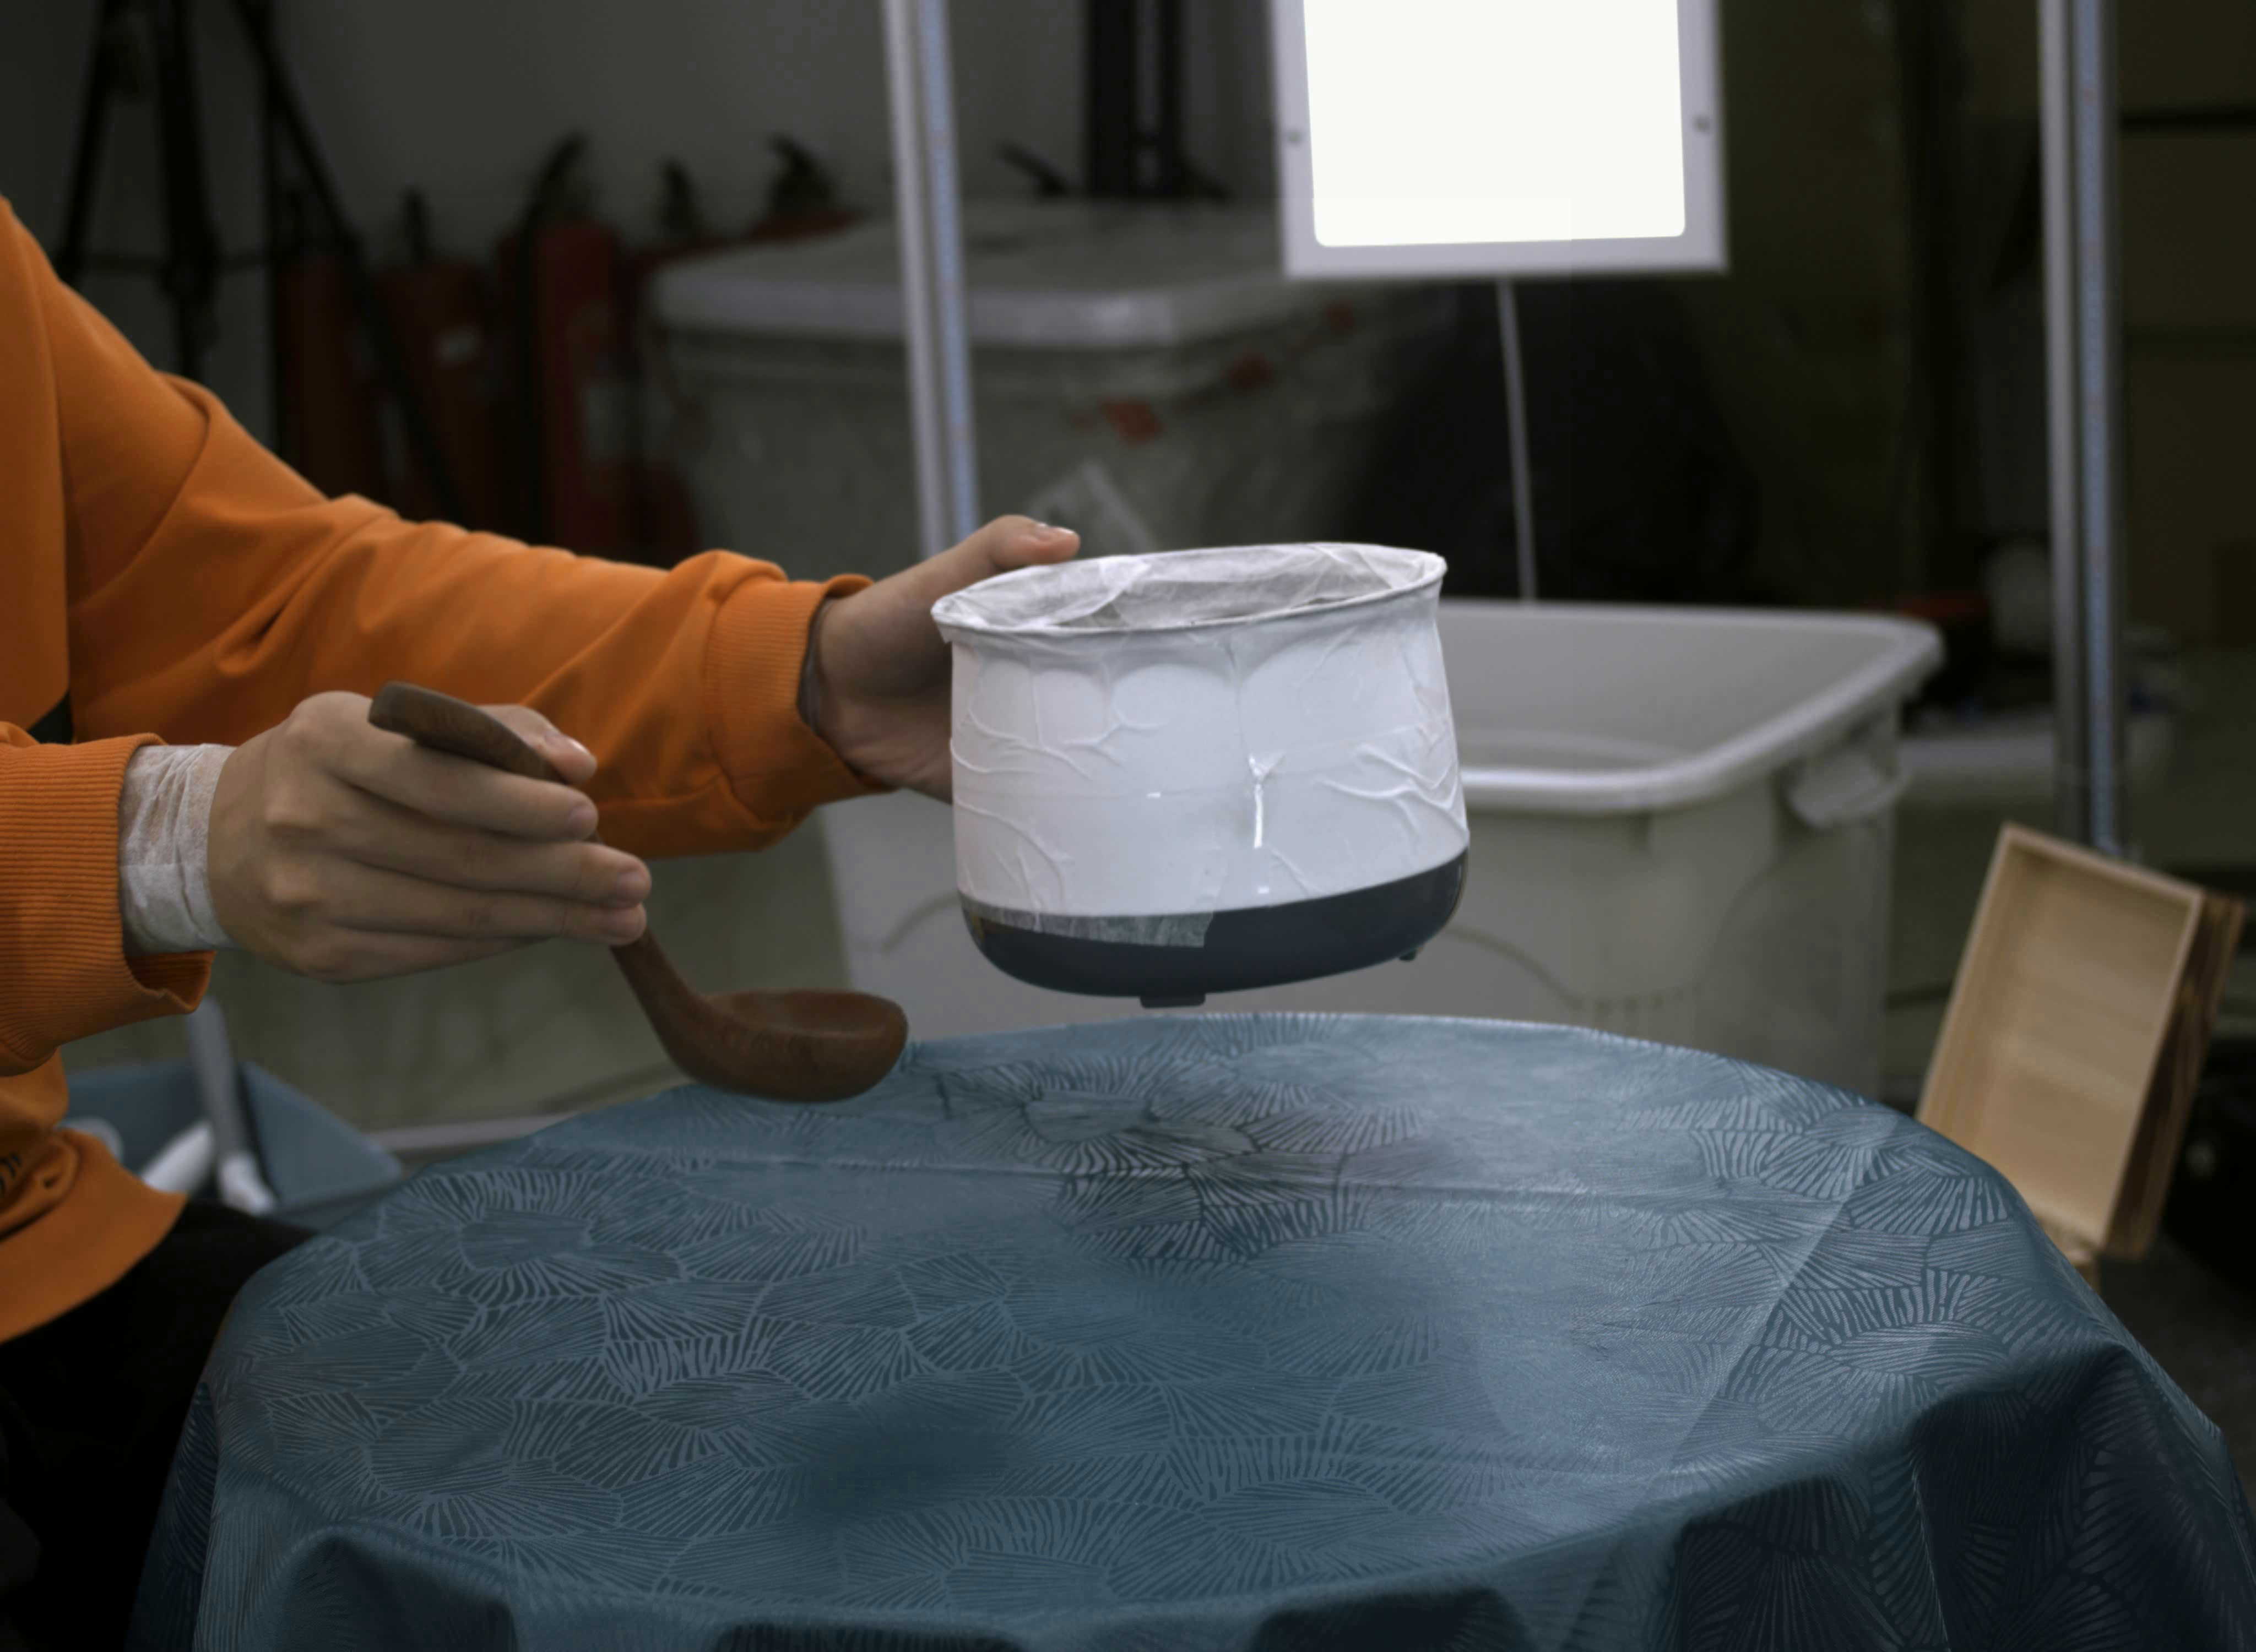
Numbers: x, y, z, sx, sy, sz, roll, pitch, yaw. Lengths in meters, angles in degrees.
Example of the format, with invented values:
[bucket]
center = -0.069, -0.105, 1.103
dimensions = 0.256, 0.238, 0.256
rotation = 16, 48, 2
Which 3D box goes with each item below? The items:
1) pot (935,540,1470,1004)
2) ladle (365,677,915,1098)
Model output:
[pot]
center = 0.012, -0.024, 1.902
dimensions = 0.174, 0.137, 0.238
rotation = -11, 11, -30
[ladle]
center = -0.144, 0.010, 1.632
dimensions = 0.078, 0.257, 0.064
rotation = 2, 58, 32
